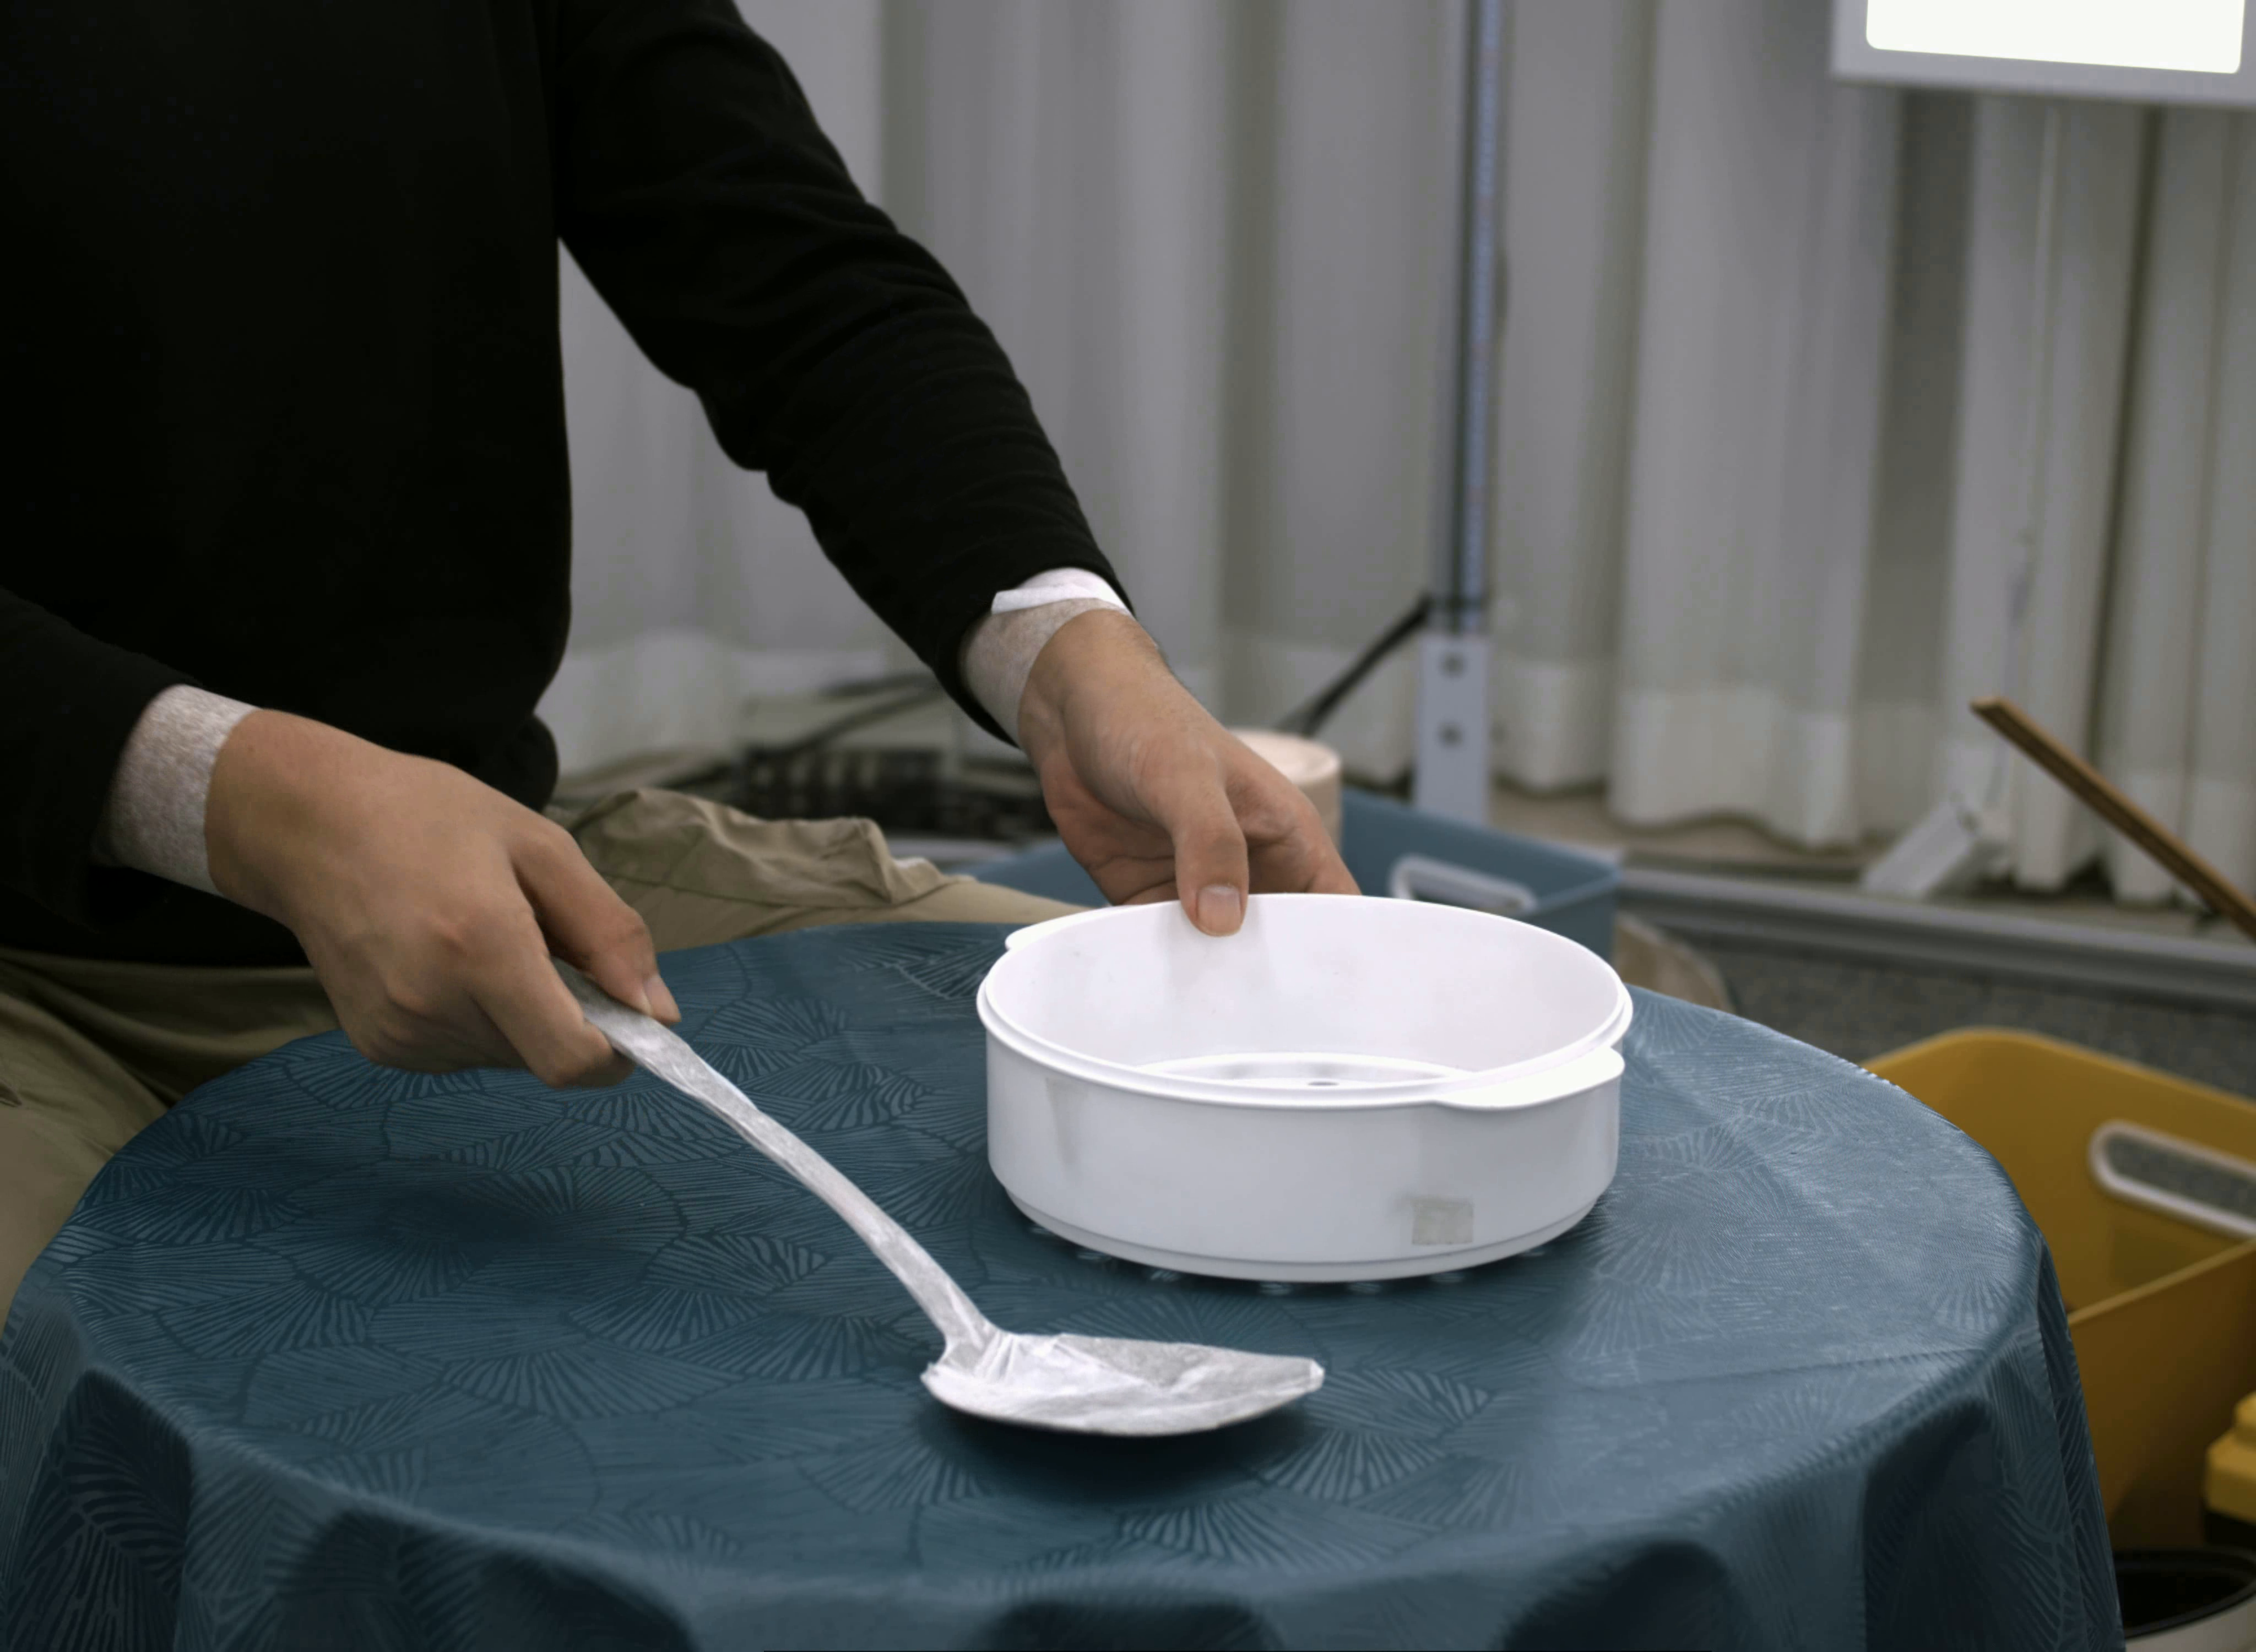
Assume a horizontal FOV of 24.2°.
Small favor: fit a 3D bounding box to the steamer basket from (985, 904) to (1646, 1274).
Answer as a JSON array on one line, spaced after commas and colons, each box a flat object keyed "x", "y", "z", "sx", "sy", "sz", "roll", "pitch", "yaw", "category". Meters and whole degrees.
[{"x": 0.057, "y": 0.080, "z": 1.607, "sx": 0.203, "sy": 0.070, "sz": 0.227, "roll": -12, "pitch": 19, "yaw": -40, "category": "steamer basket"}]

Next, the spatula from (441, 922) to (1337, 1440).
[{"x": -0.091, "y": 0.094, "z": 1.510, "sx": 0.099, "sy": 0.045, "sz": 0.360, "roll": -12, "pitch": 36, "yaw": -43, "category": "spatula"}]
